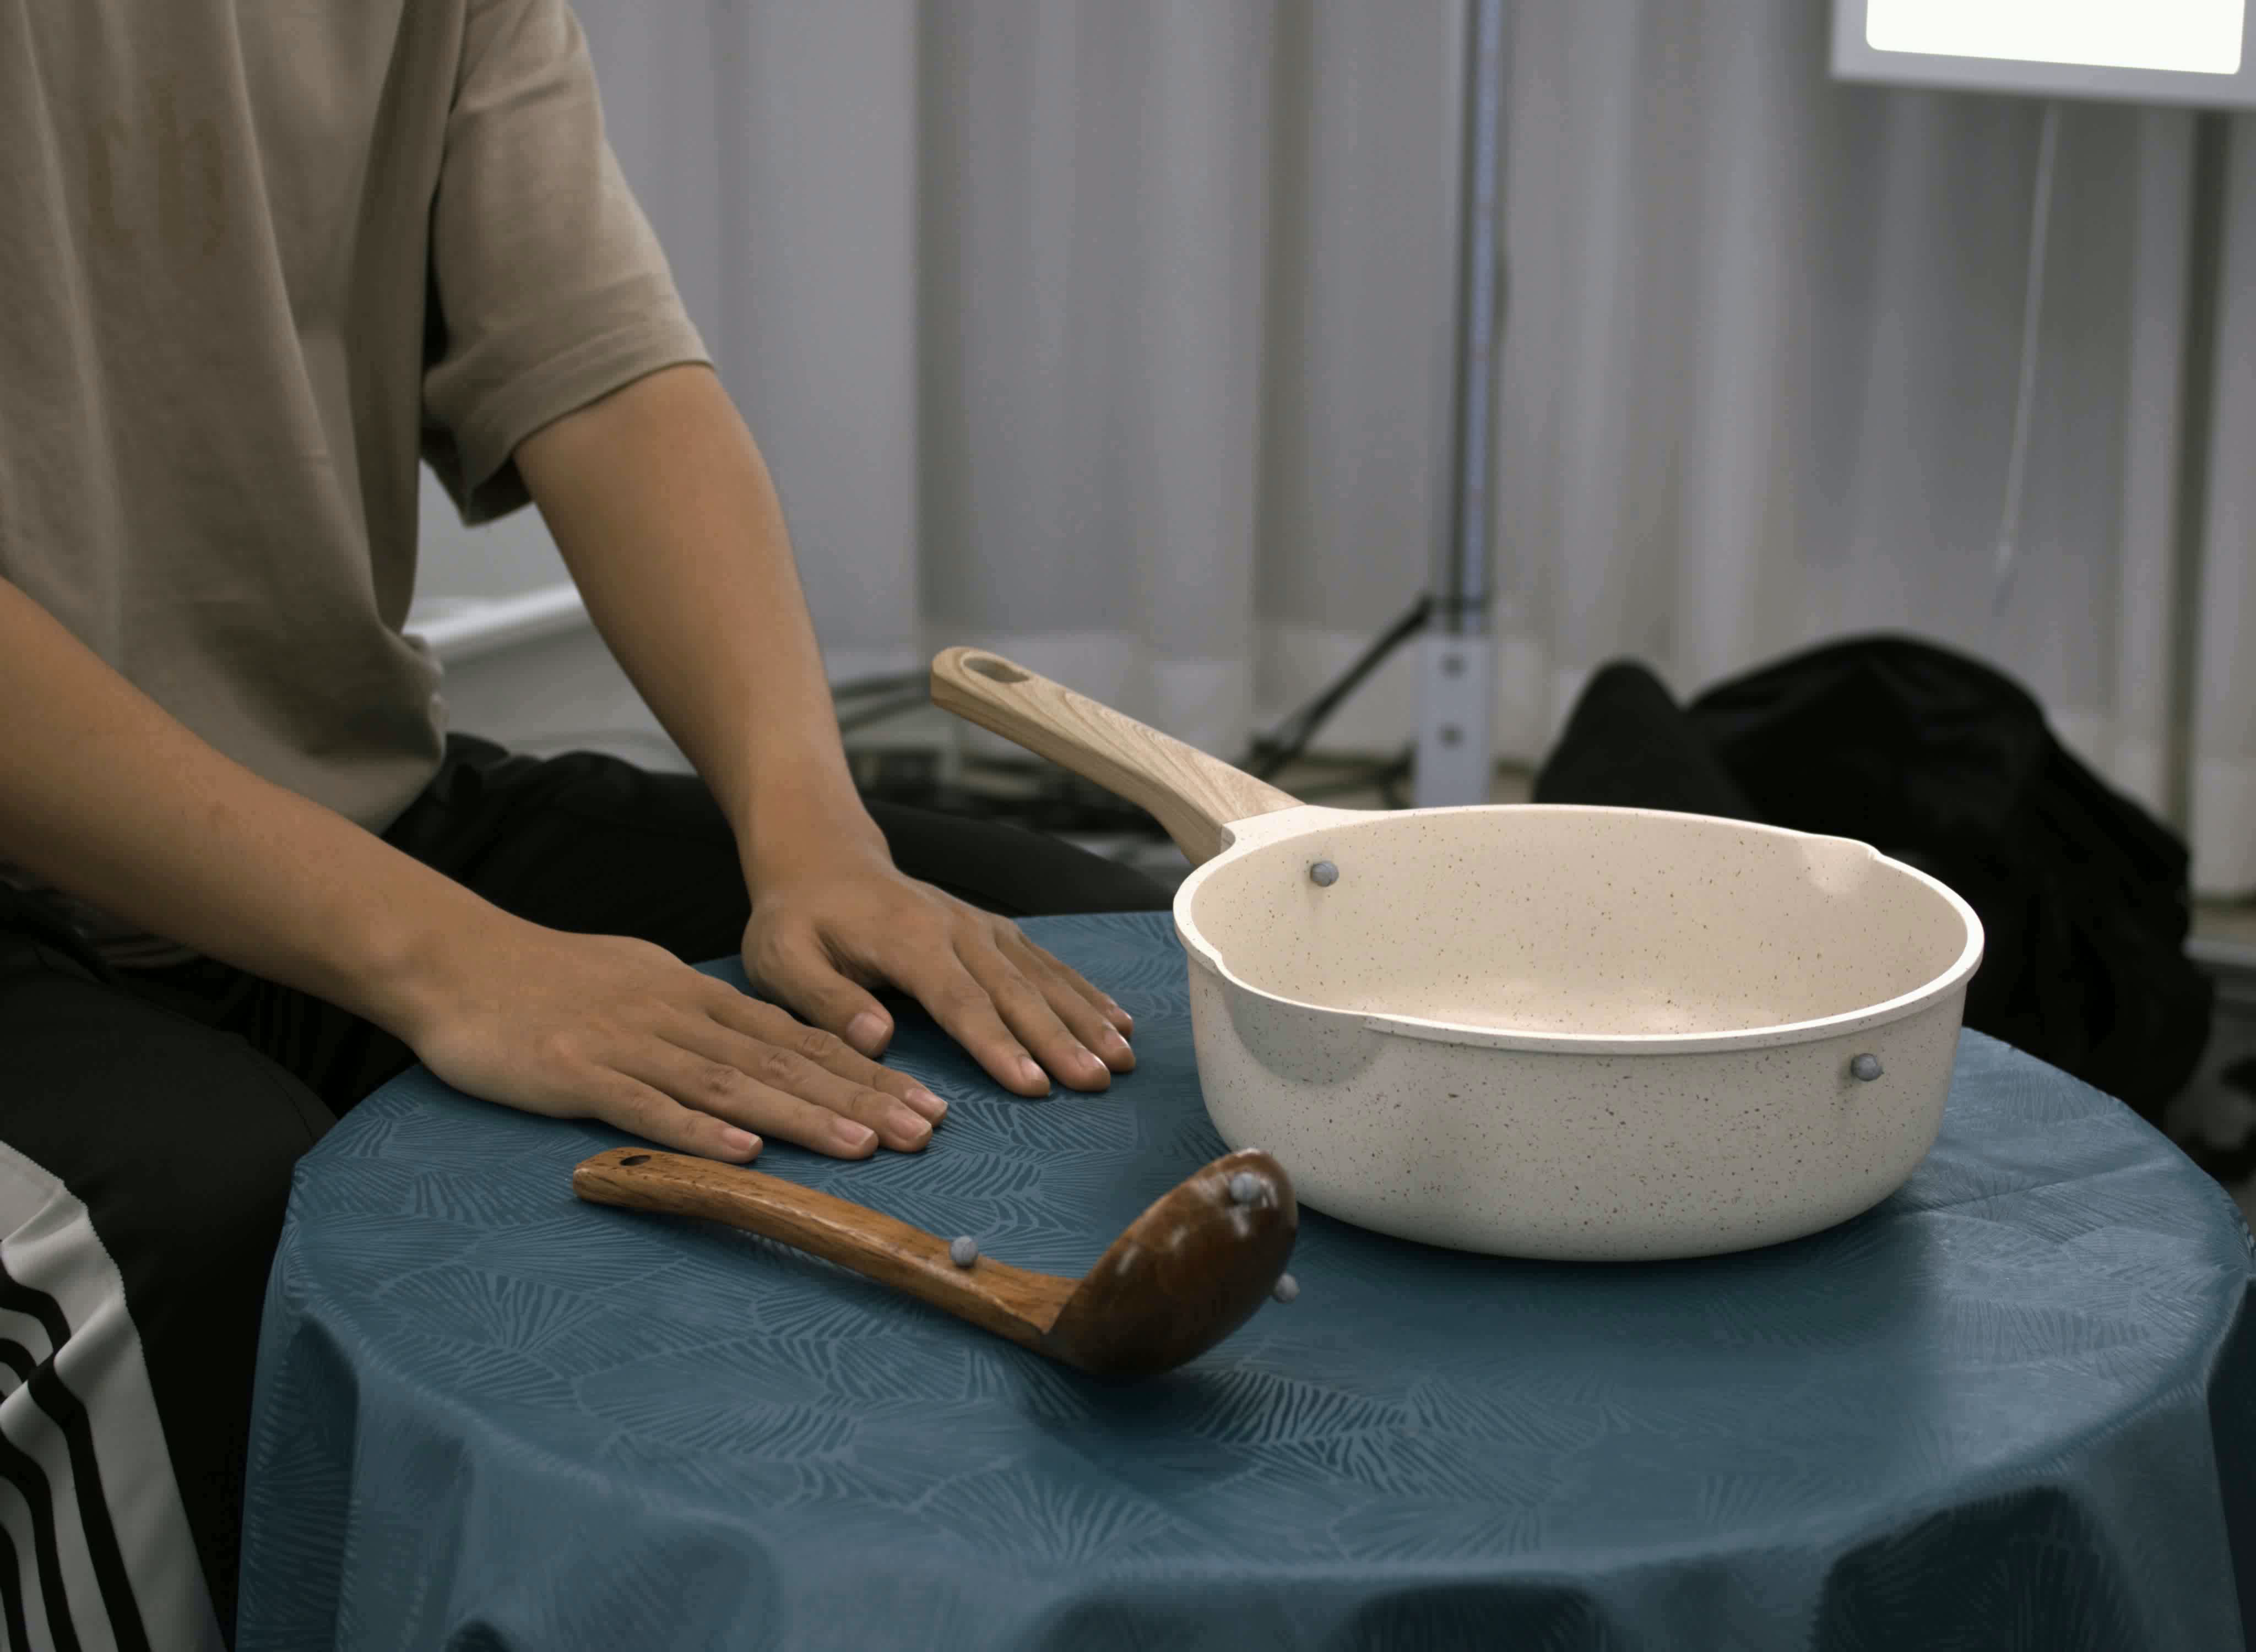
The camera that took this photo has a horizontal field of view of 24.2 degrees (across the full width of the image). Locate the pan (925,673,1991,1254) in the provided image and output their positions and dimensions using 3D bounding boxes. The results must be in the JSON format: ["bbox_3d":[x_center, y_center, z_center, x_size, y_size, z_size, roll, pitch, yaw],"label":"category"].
[{"bbox_3d":[0.082,0.038,1.714,0.264,0.103,0.429,-15,22,-40],"label":"pan"}]

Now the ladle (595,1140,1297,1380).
[{"bbox_3d":[-0.064,0.101,1.518,0.270,0.077,0.082,16,25,41],"label":"ladle"}]
